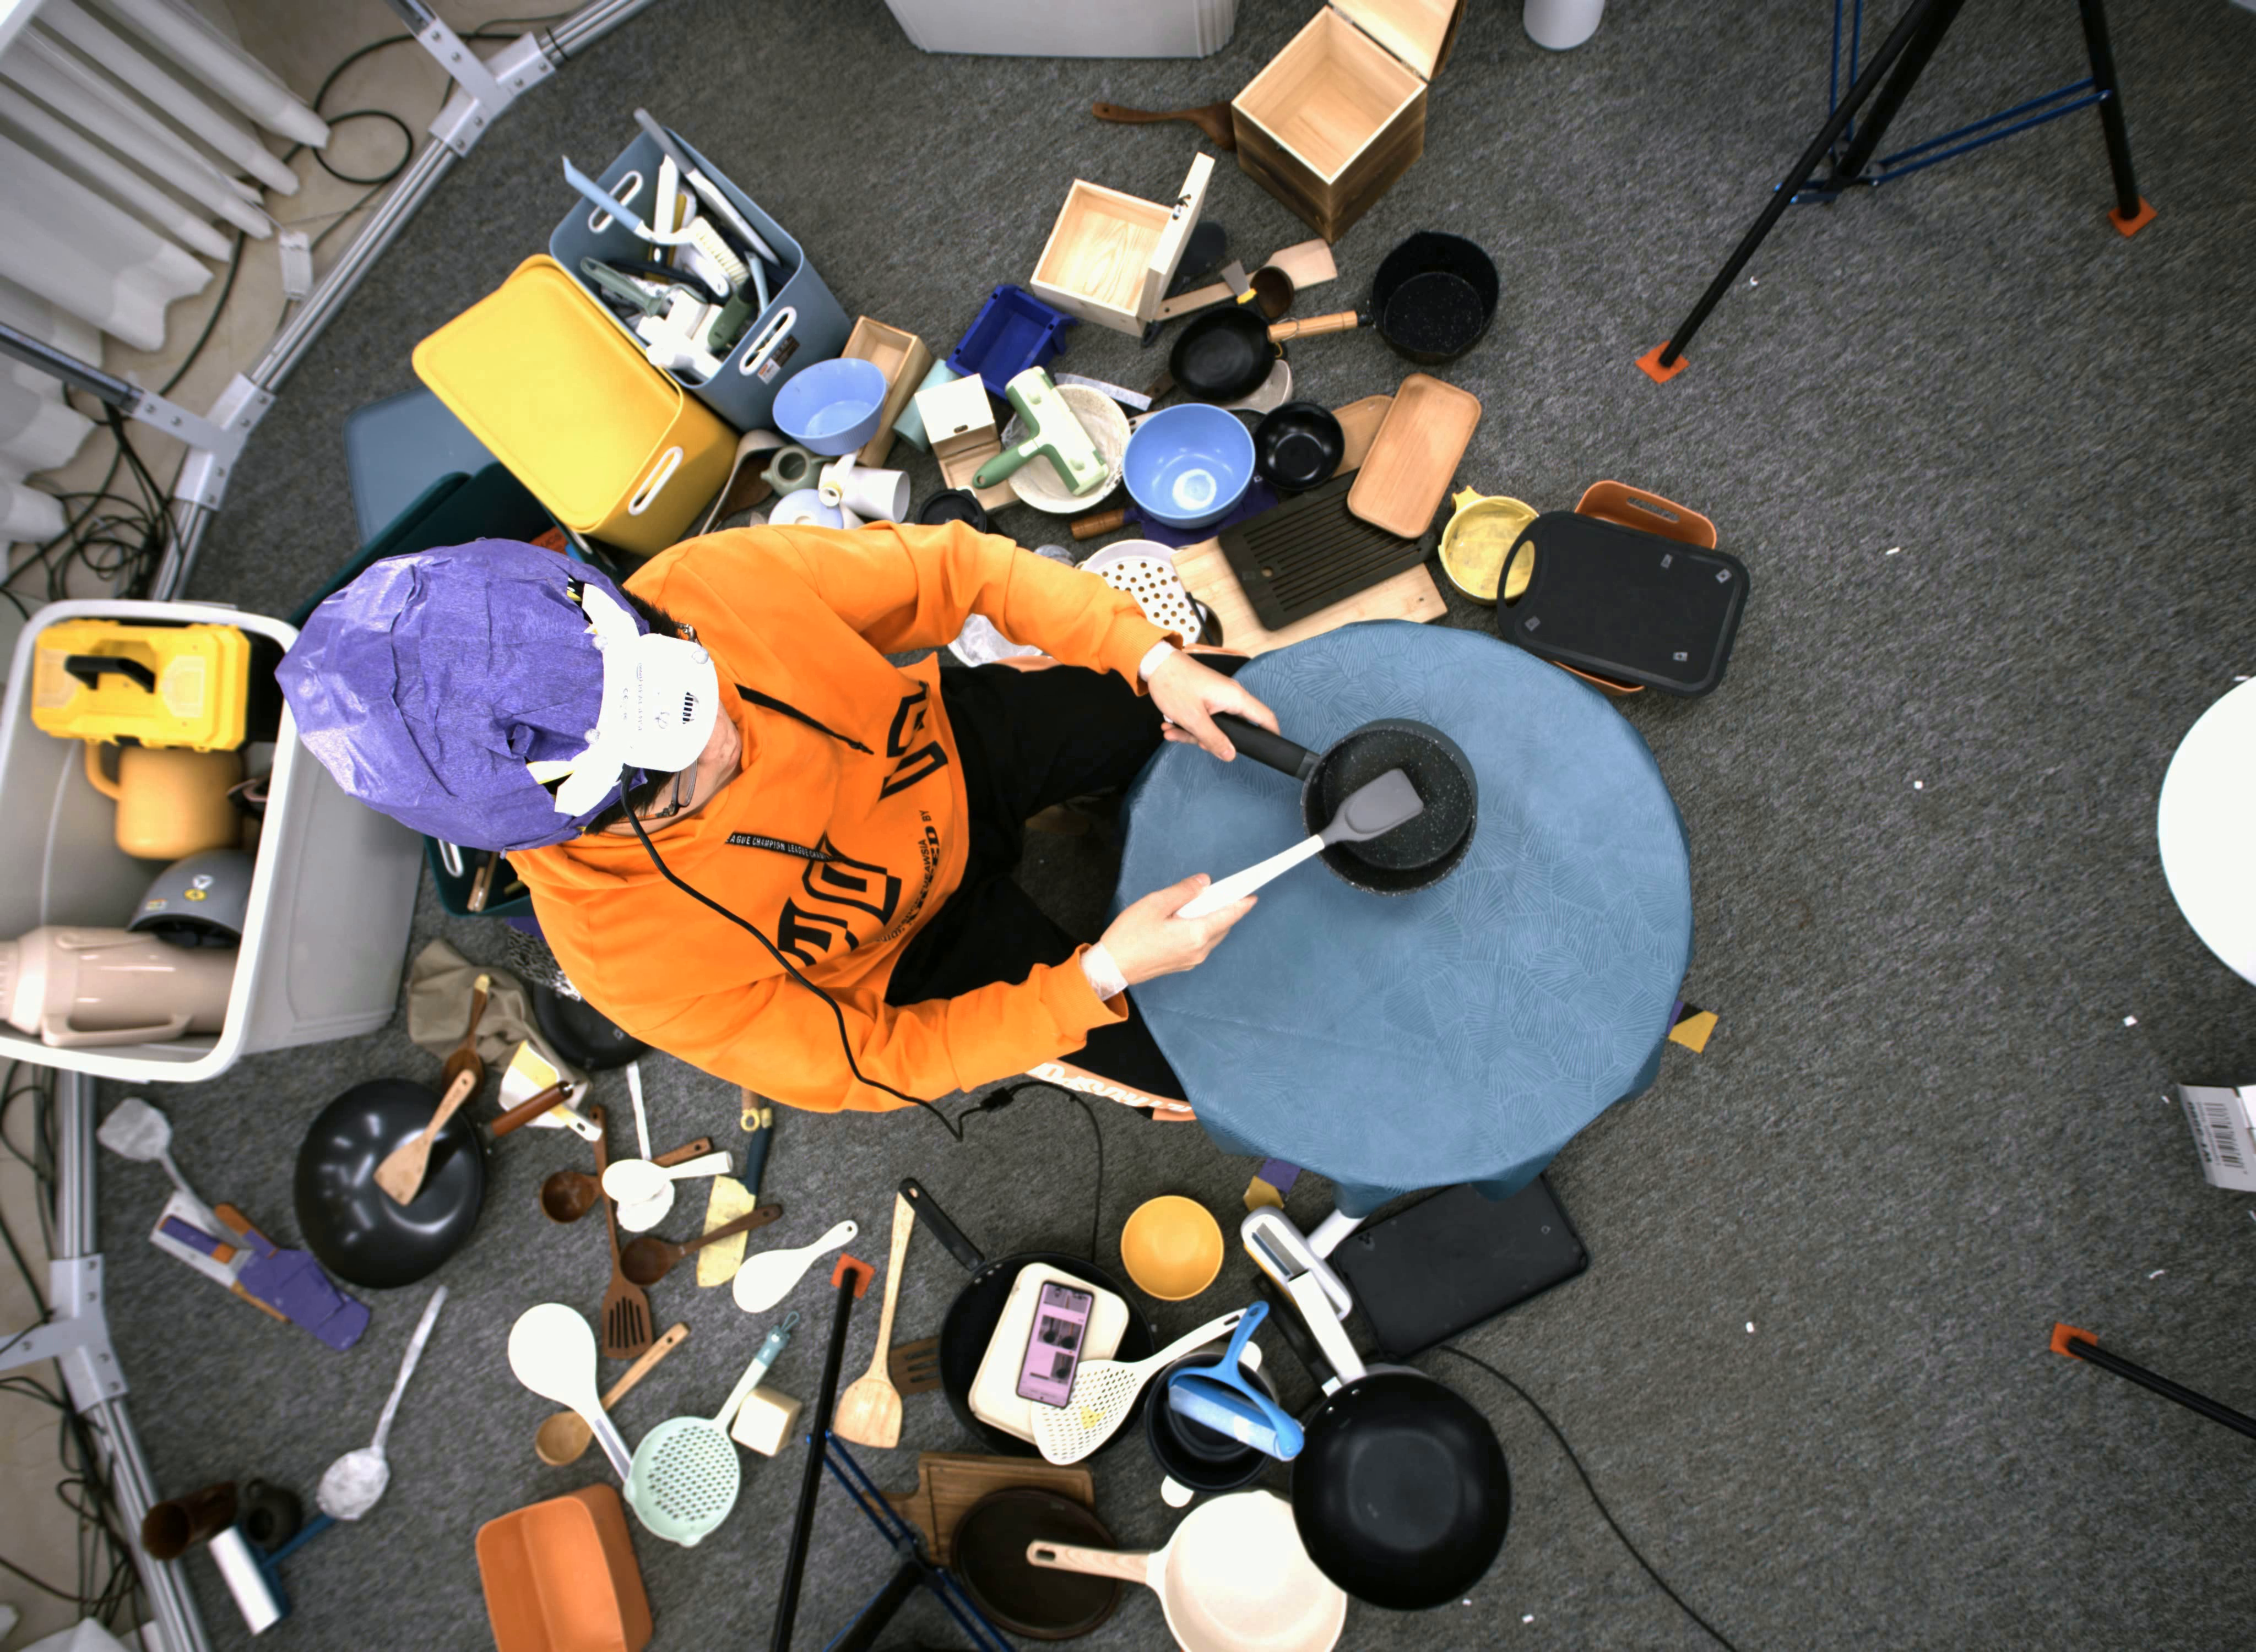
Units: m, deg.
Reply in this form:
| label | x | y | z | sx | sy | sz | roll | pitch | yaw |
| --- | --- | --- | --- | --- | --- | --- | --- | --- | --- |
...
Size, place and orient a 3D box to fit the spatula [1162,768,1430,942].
| label | x | y | z | sx | sy | sz | roll | pitch | yaw |
| --- | --- | --- | --- | --- | --- | --- | --- | --- | --- |
| spatula | 0.164 | 0.030 | 1.357 | 0.286 | 0.033 | 0.058 | -29 | 72 | -7 |

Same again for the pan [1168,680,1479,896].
| label | x | y | z | sx | sy | sz | roll | pitch | yaw |
| --- | --- | --- | --- | --- | --- | --- | --- | --- | --- |
| pan | 0.195 | -0.060 | 1.383 | 0.328 | 0.085 | 0.175 | 29 | 113 | 8 |
